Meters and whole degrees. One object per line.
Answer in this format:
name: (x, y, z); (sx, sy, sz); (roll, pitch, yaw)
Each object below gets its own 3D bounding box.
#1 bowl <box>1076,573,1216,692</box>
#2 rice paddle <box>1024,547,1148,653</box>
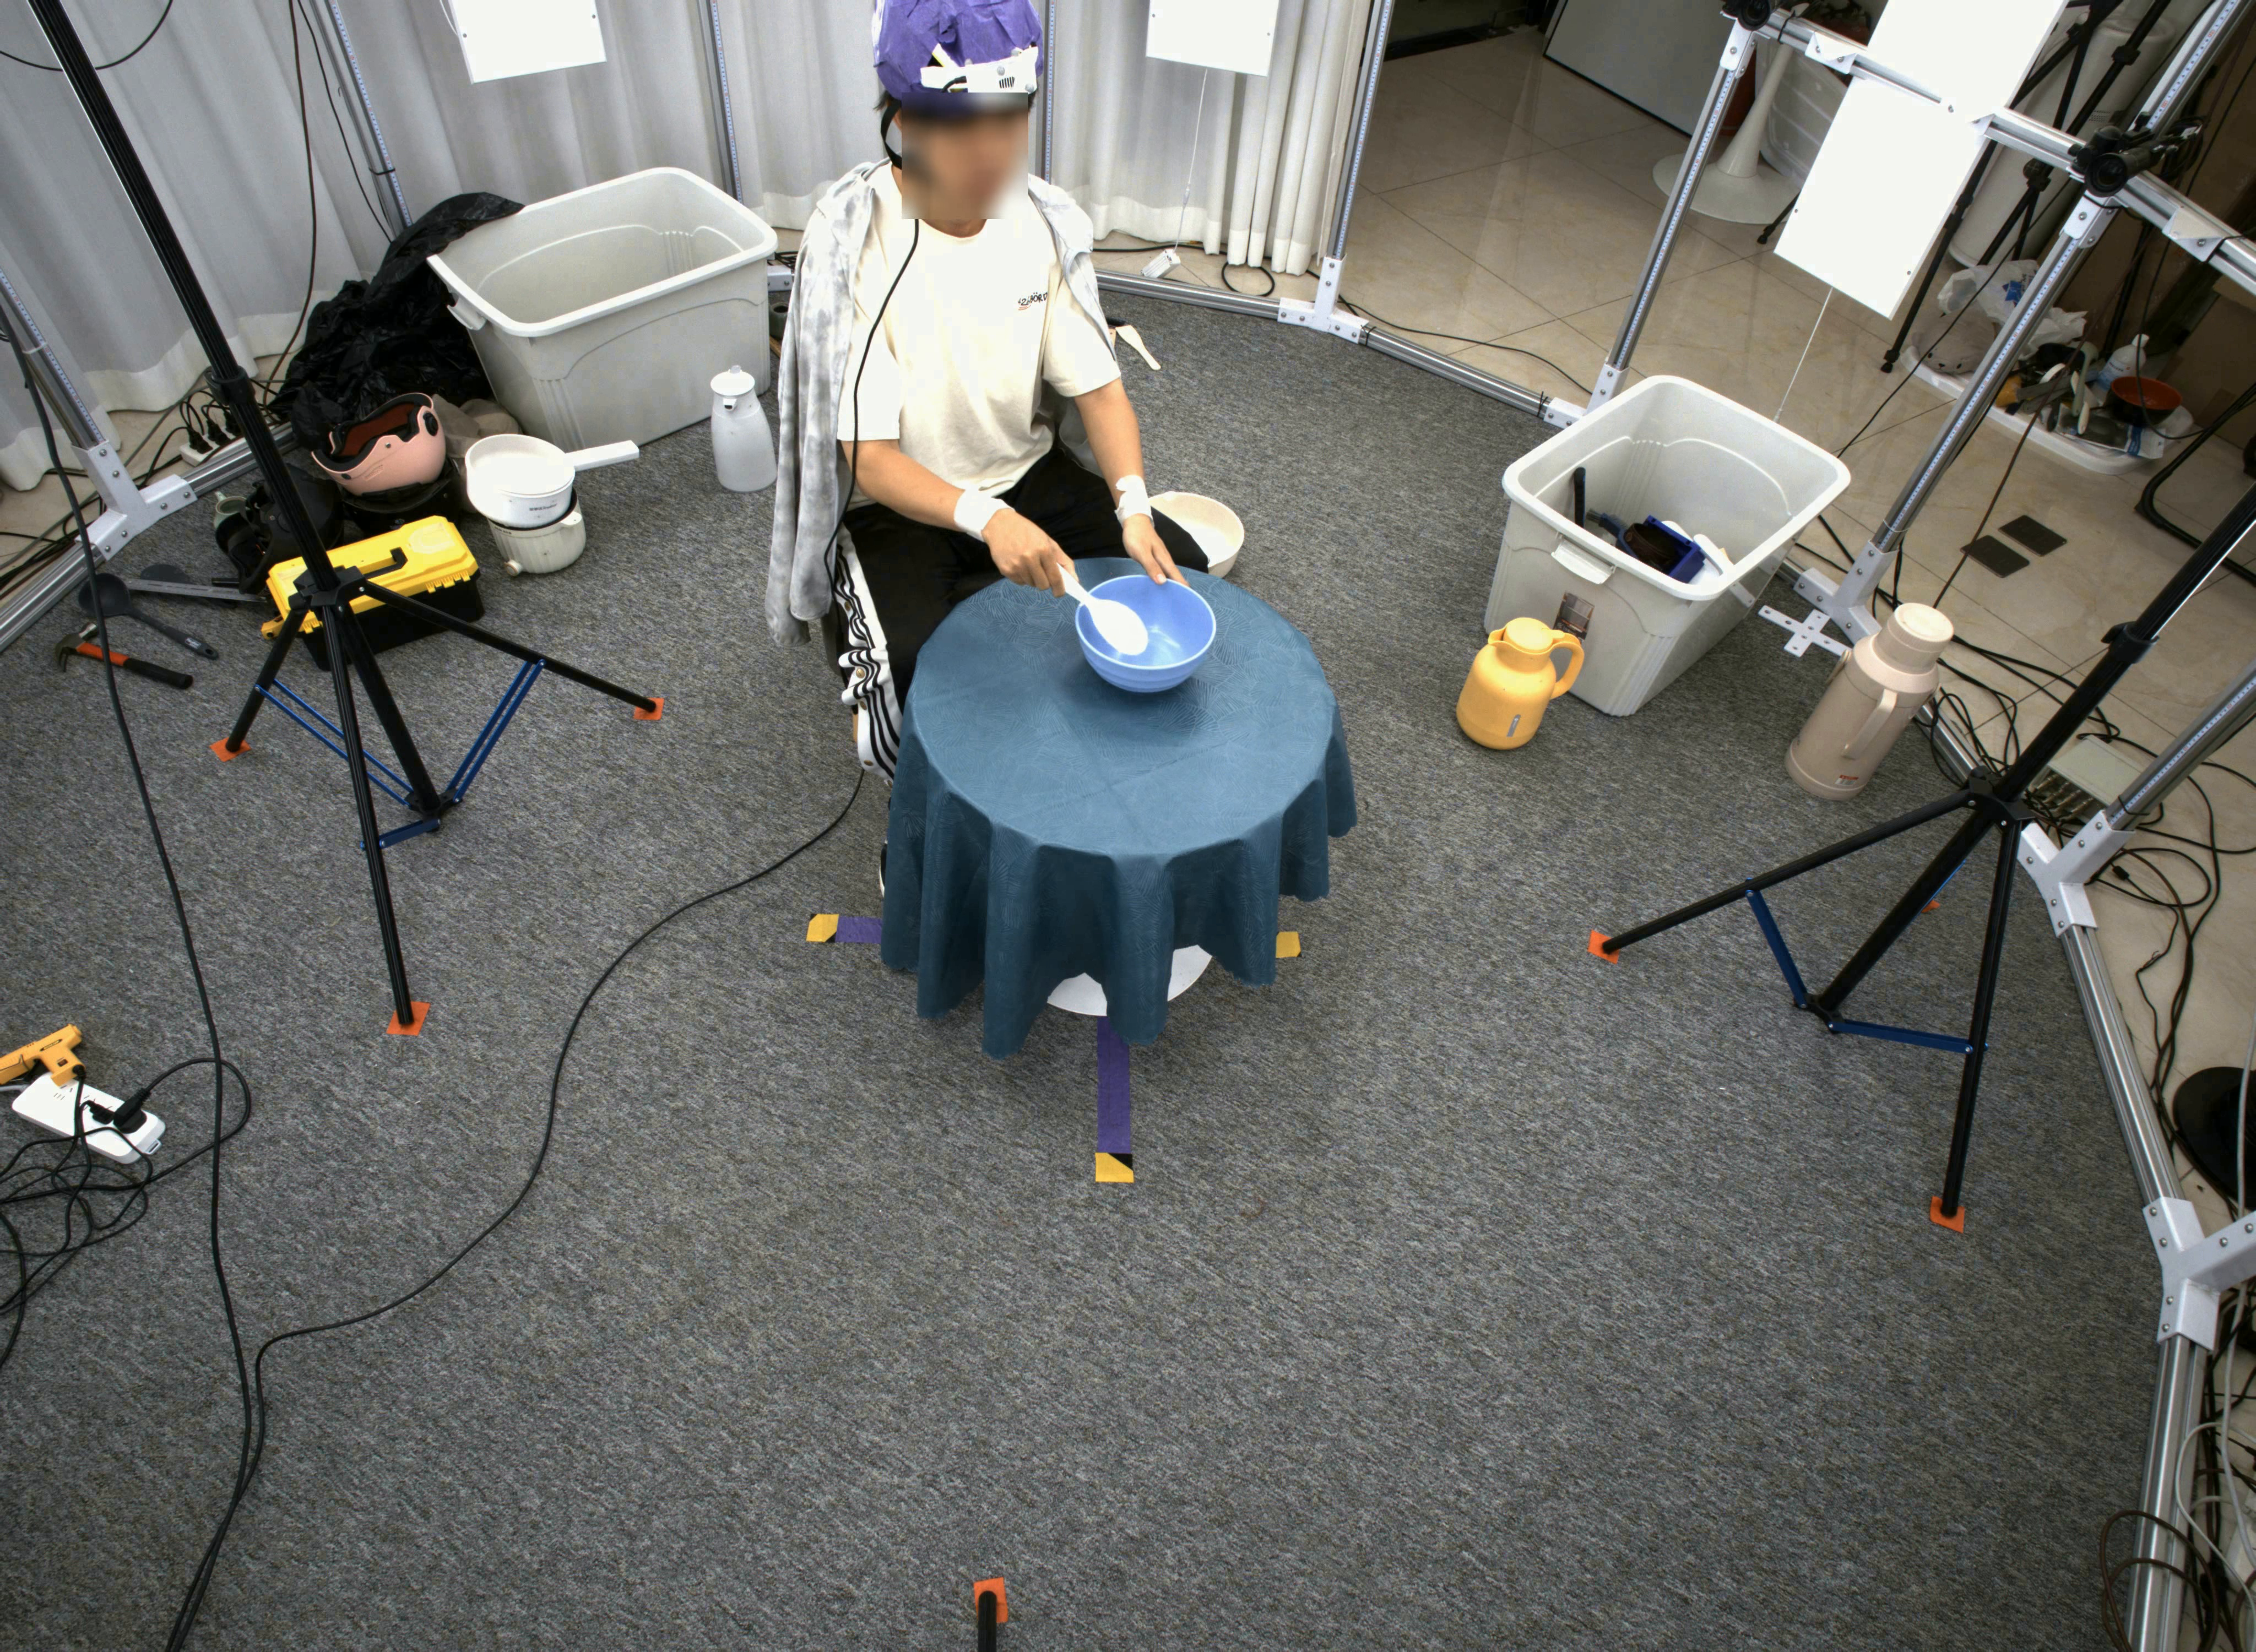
bowl: (0.022, -0.260, 1.825); (0.196, 0.093, 0.201); (2, 51, -2)
rice paddle: (-0.053, -0.312, 1.780); (0.203, 0.029, 0.070); (36, 61, -14)
